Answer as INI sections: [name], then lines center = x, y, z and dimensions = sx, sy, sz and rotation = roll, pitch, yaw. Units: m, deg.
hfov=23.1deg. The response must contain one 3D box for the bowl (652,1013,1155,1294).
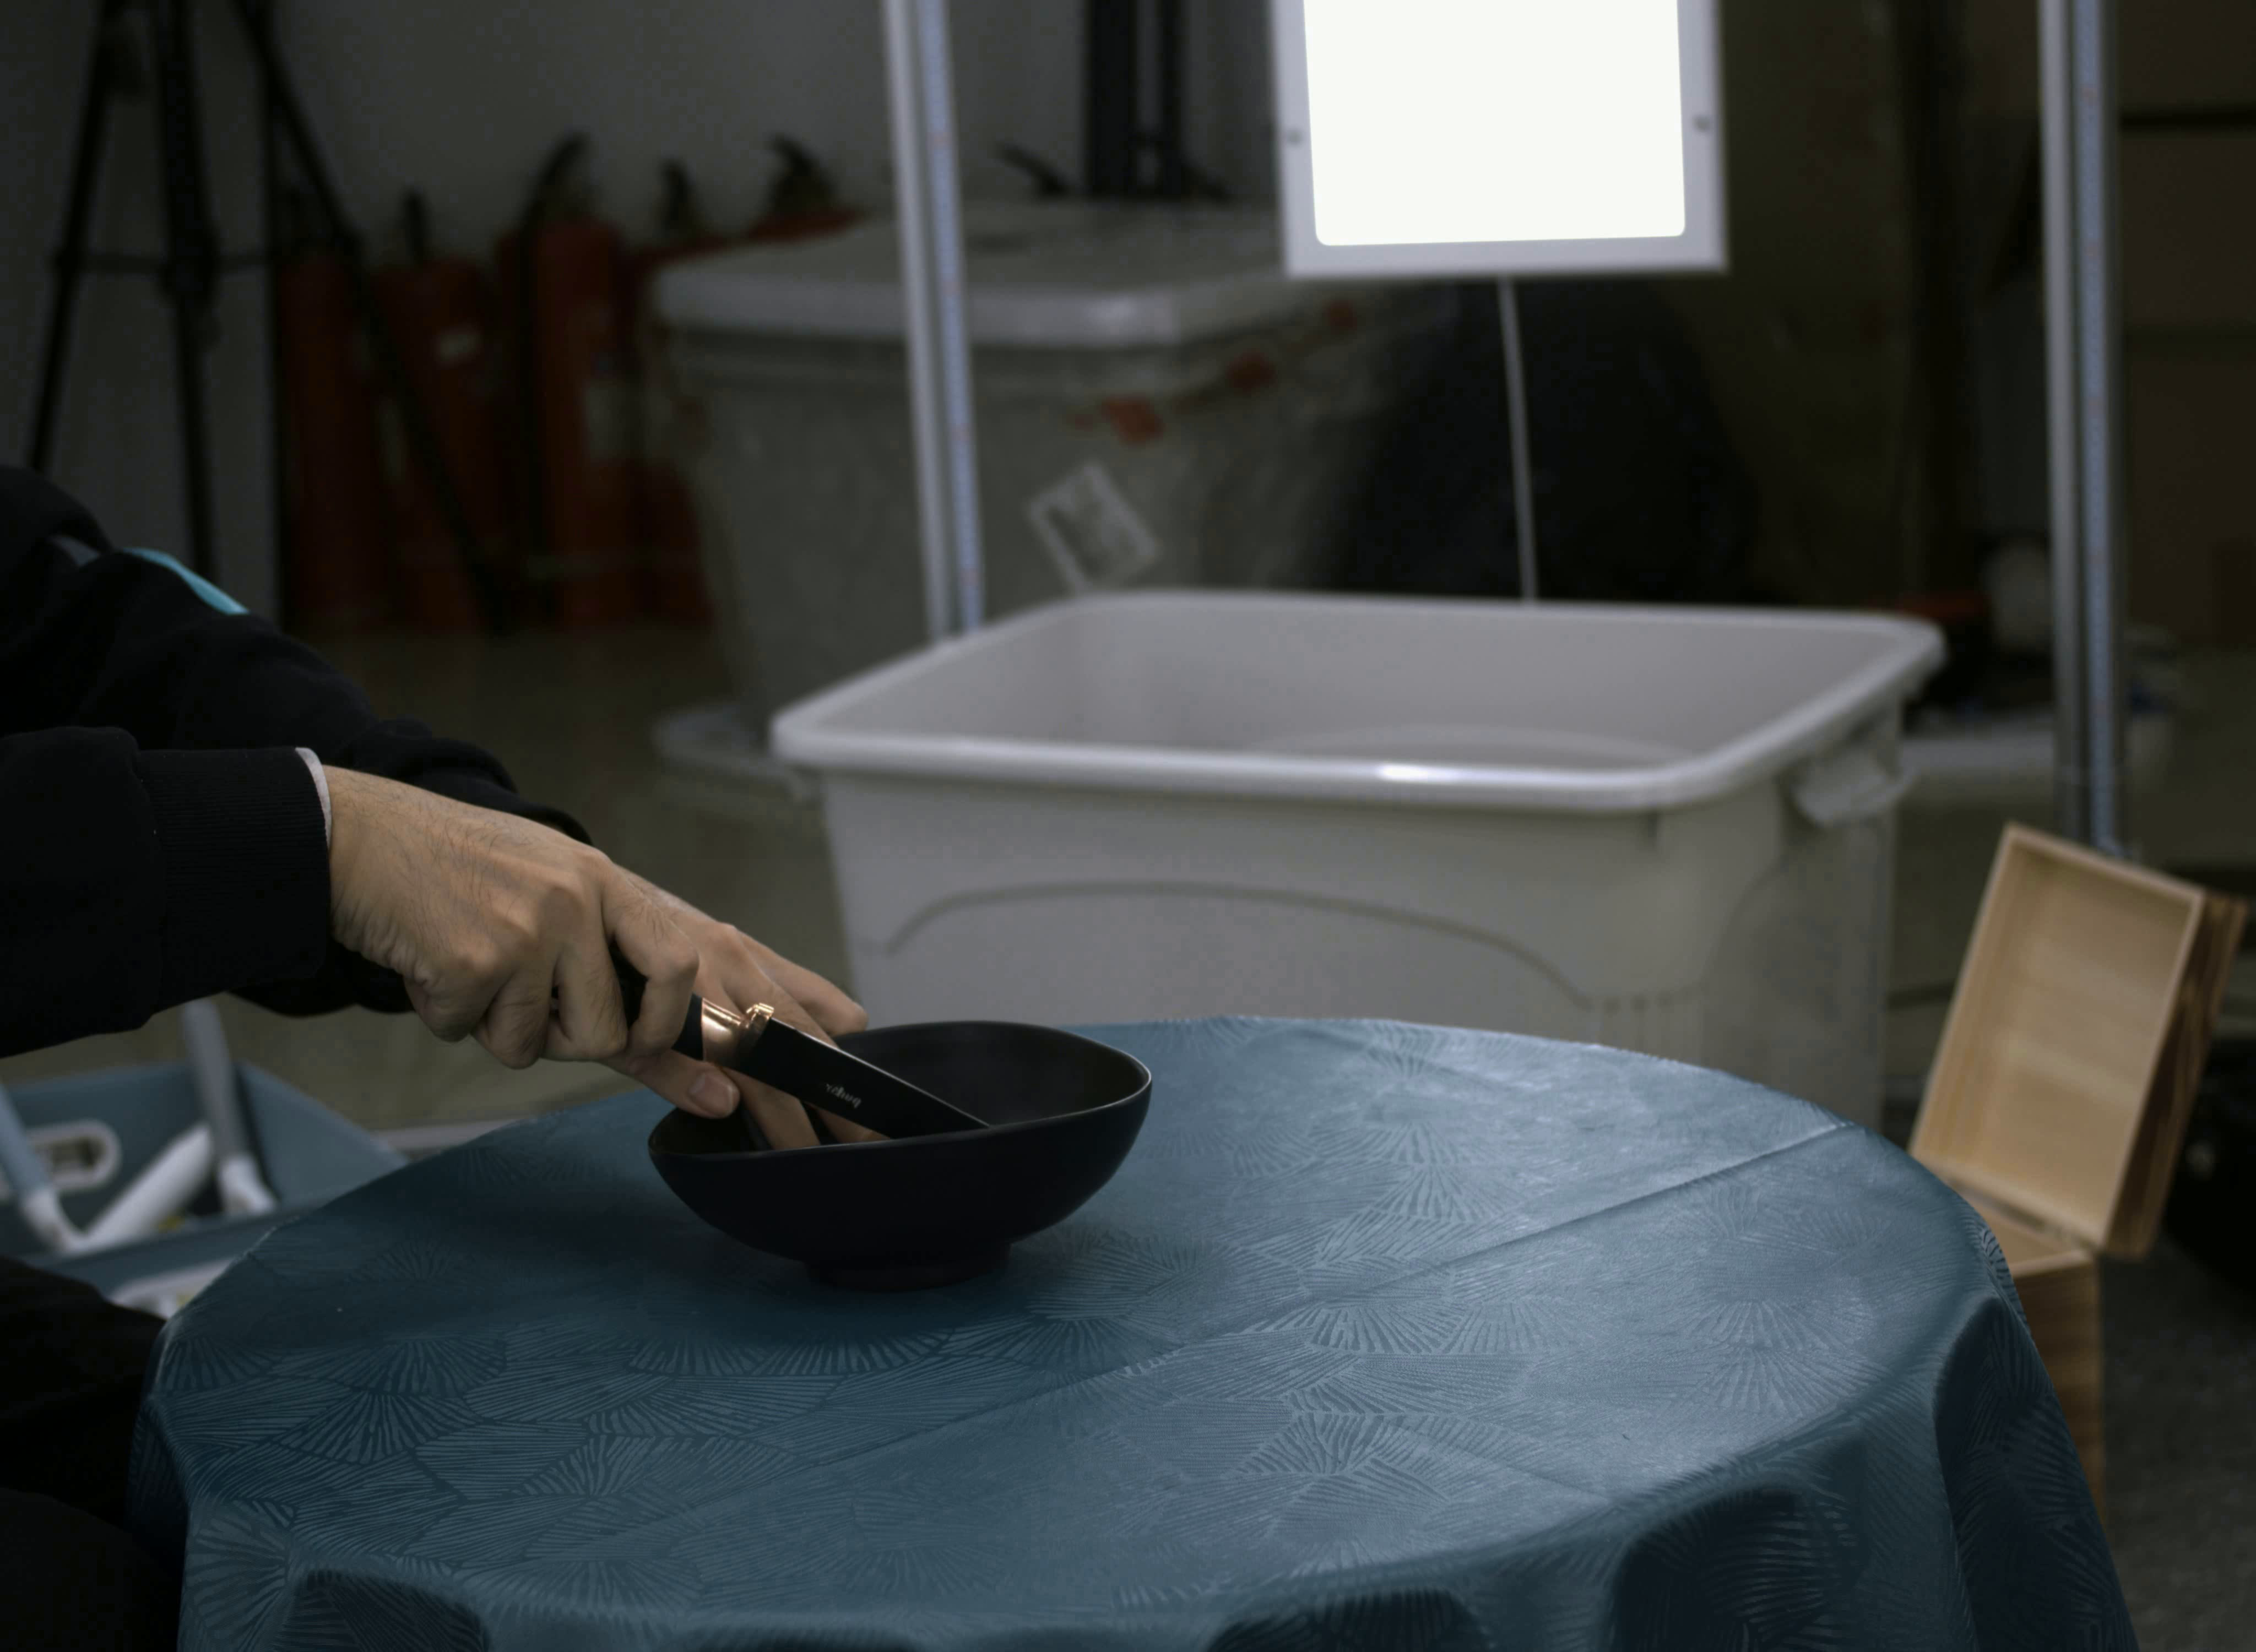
[bowl]
center = -0.072, 0.115, 1.836
dimensions = 0.170, 0.067, 0.137
rotation = -7, 14, -1

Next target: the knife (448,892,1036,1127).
[knife]
center = -0.120, 0.071, 1.840
dimensions = 0.224, 0.026, 0.017
rotation = 23, 16, -3
